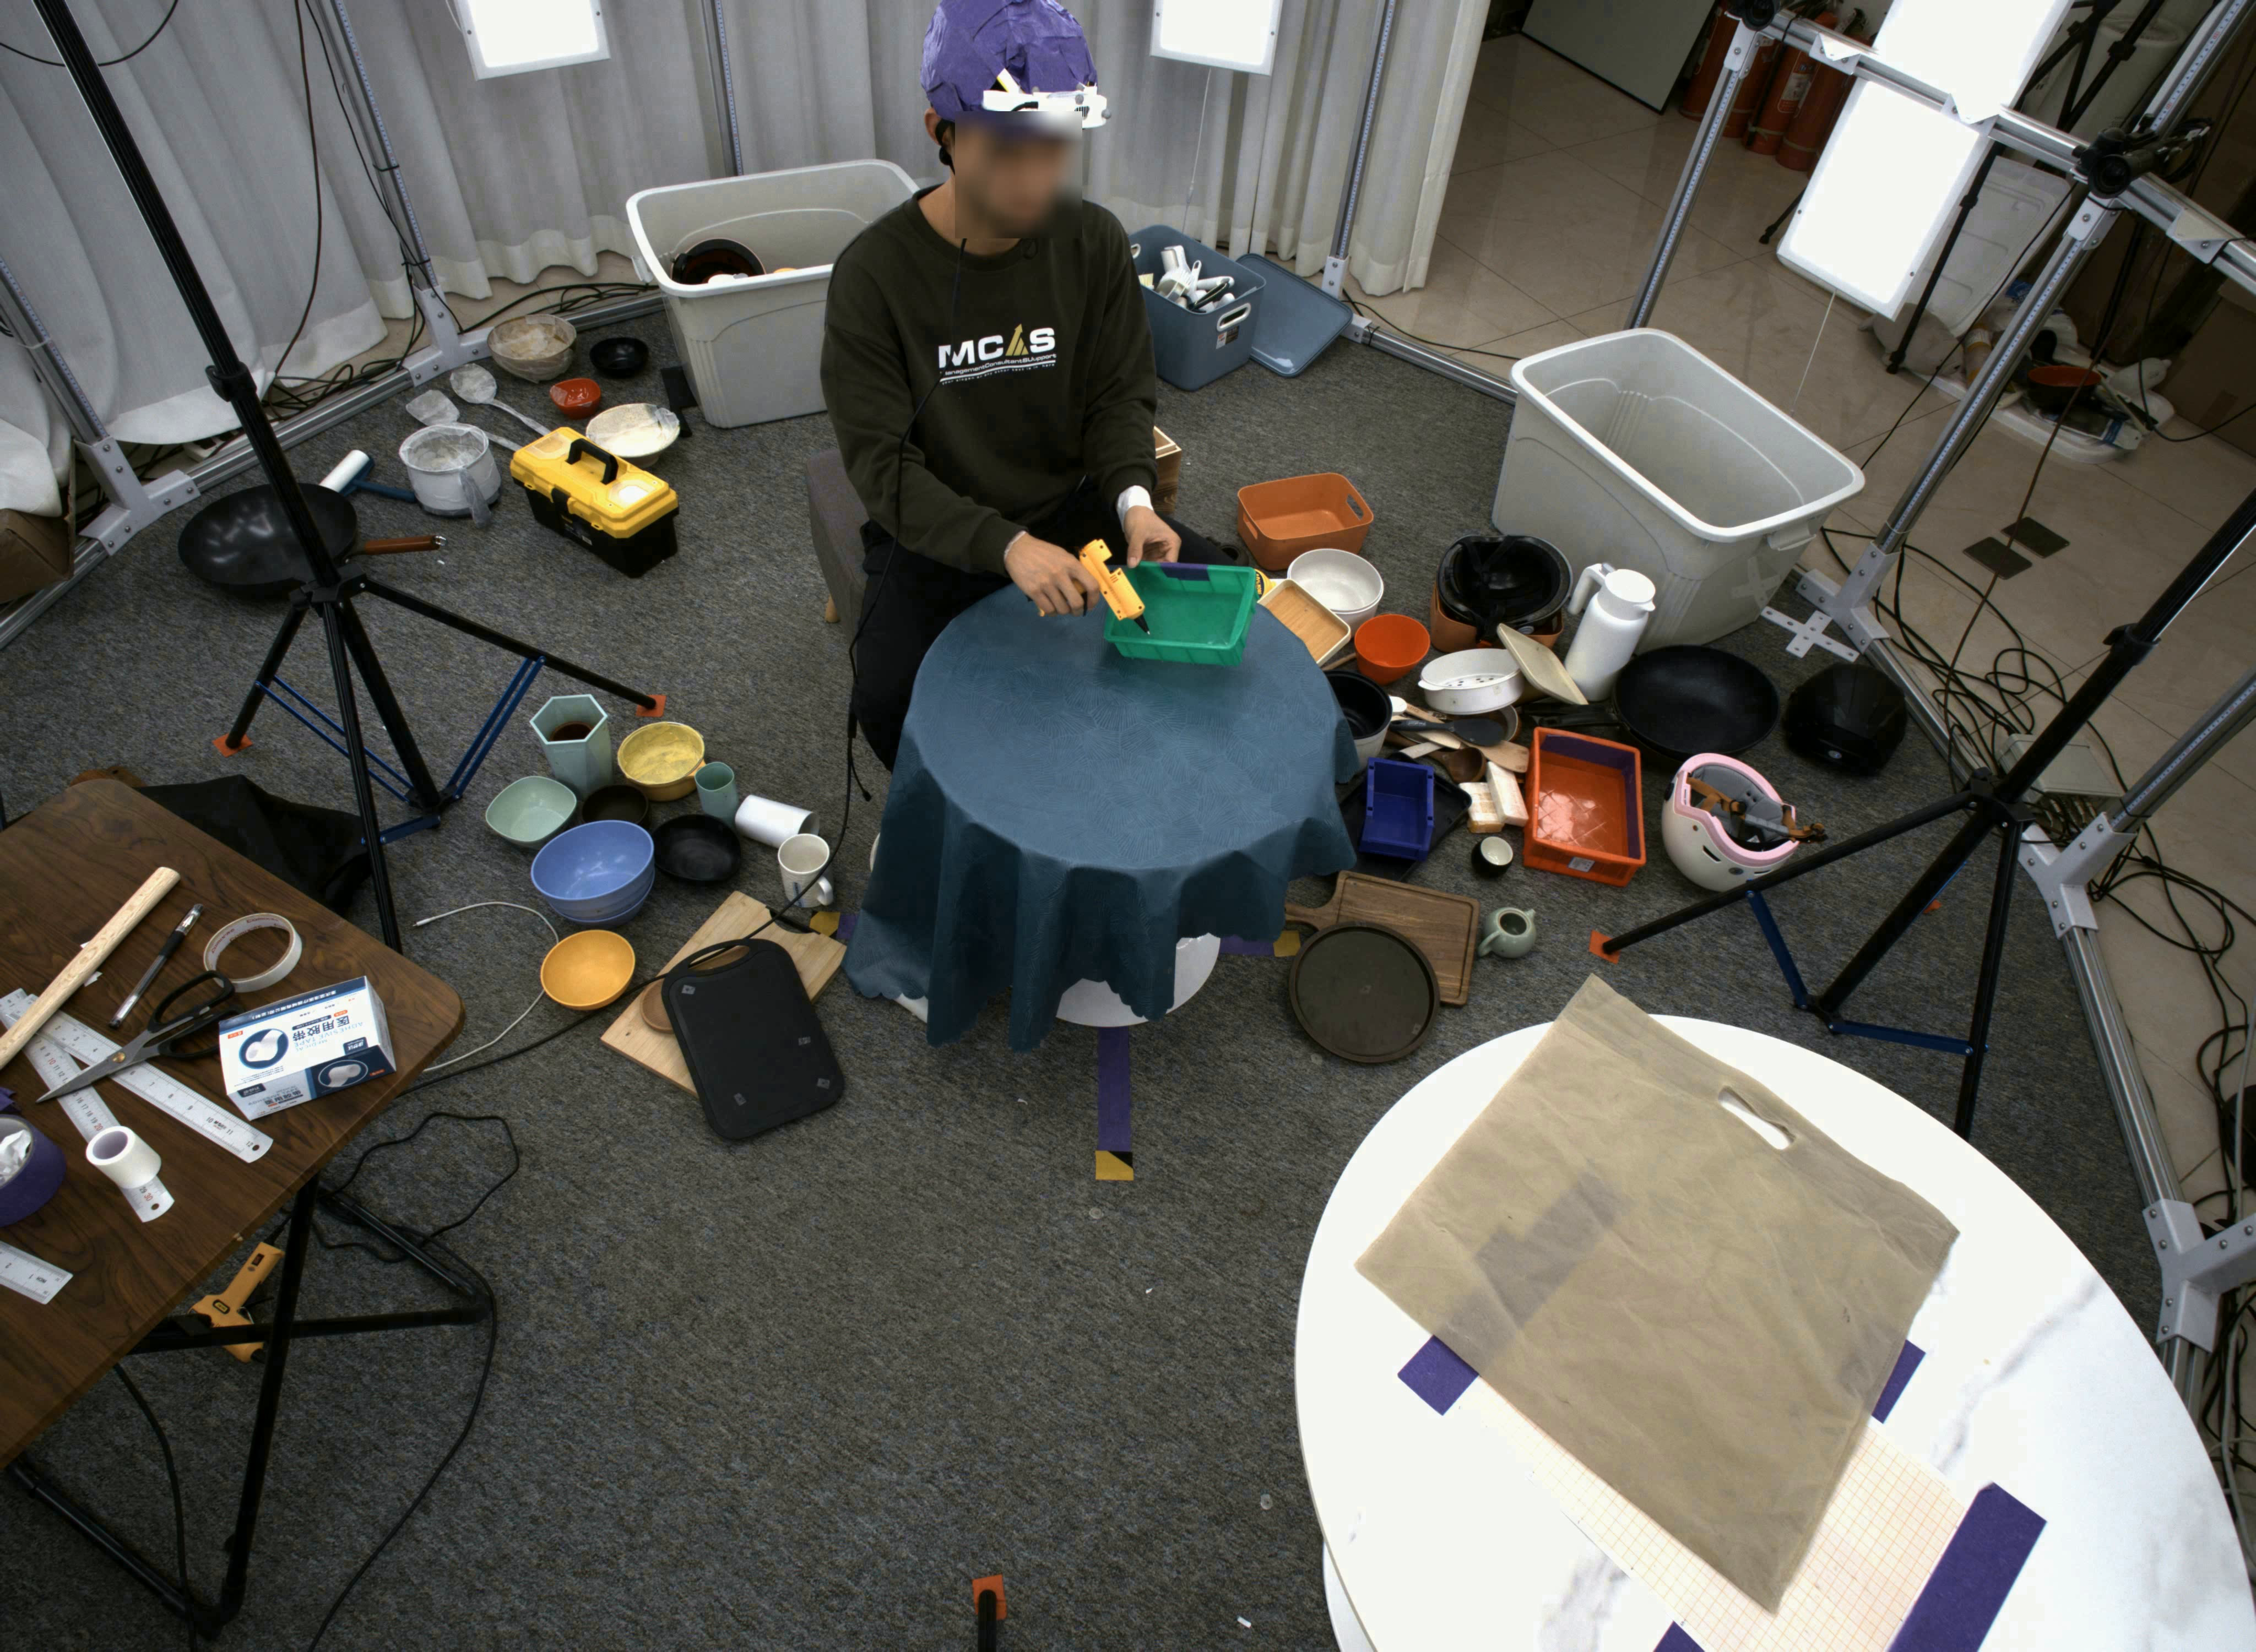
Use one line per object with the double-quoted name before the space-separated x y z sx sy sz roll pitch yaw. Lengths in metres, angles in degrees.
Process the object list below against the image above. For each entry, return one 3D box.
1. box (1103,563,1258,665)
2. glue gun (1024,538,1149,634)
"box" 0.079 -0.301 1.838 0.211 0.064 0.141 6 63 25
"glue gun" -0.048 -0.304 1.793 0.132 0.150 0.031 -38 9 8
